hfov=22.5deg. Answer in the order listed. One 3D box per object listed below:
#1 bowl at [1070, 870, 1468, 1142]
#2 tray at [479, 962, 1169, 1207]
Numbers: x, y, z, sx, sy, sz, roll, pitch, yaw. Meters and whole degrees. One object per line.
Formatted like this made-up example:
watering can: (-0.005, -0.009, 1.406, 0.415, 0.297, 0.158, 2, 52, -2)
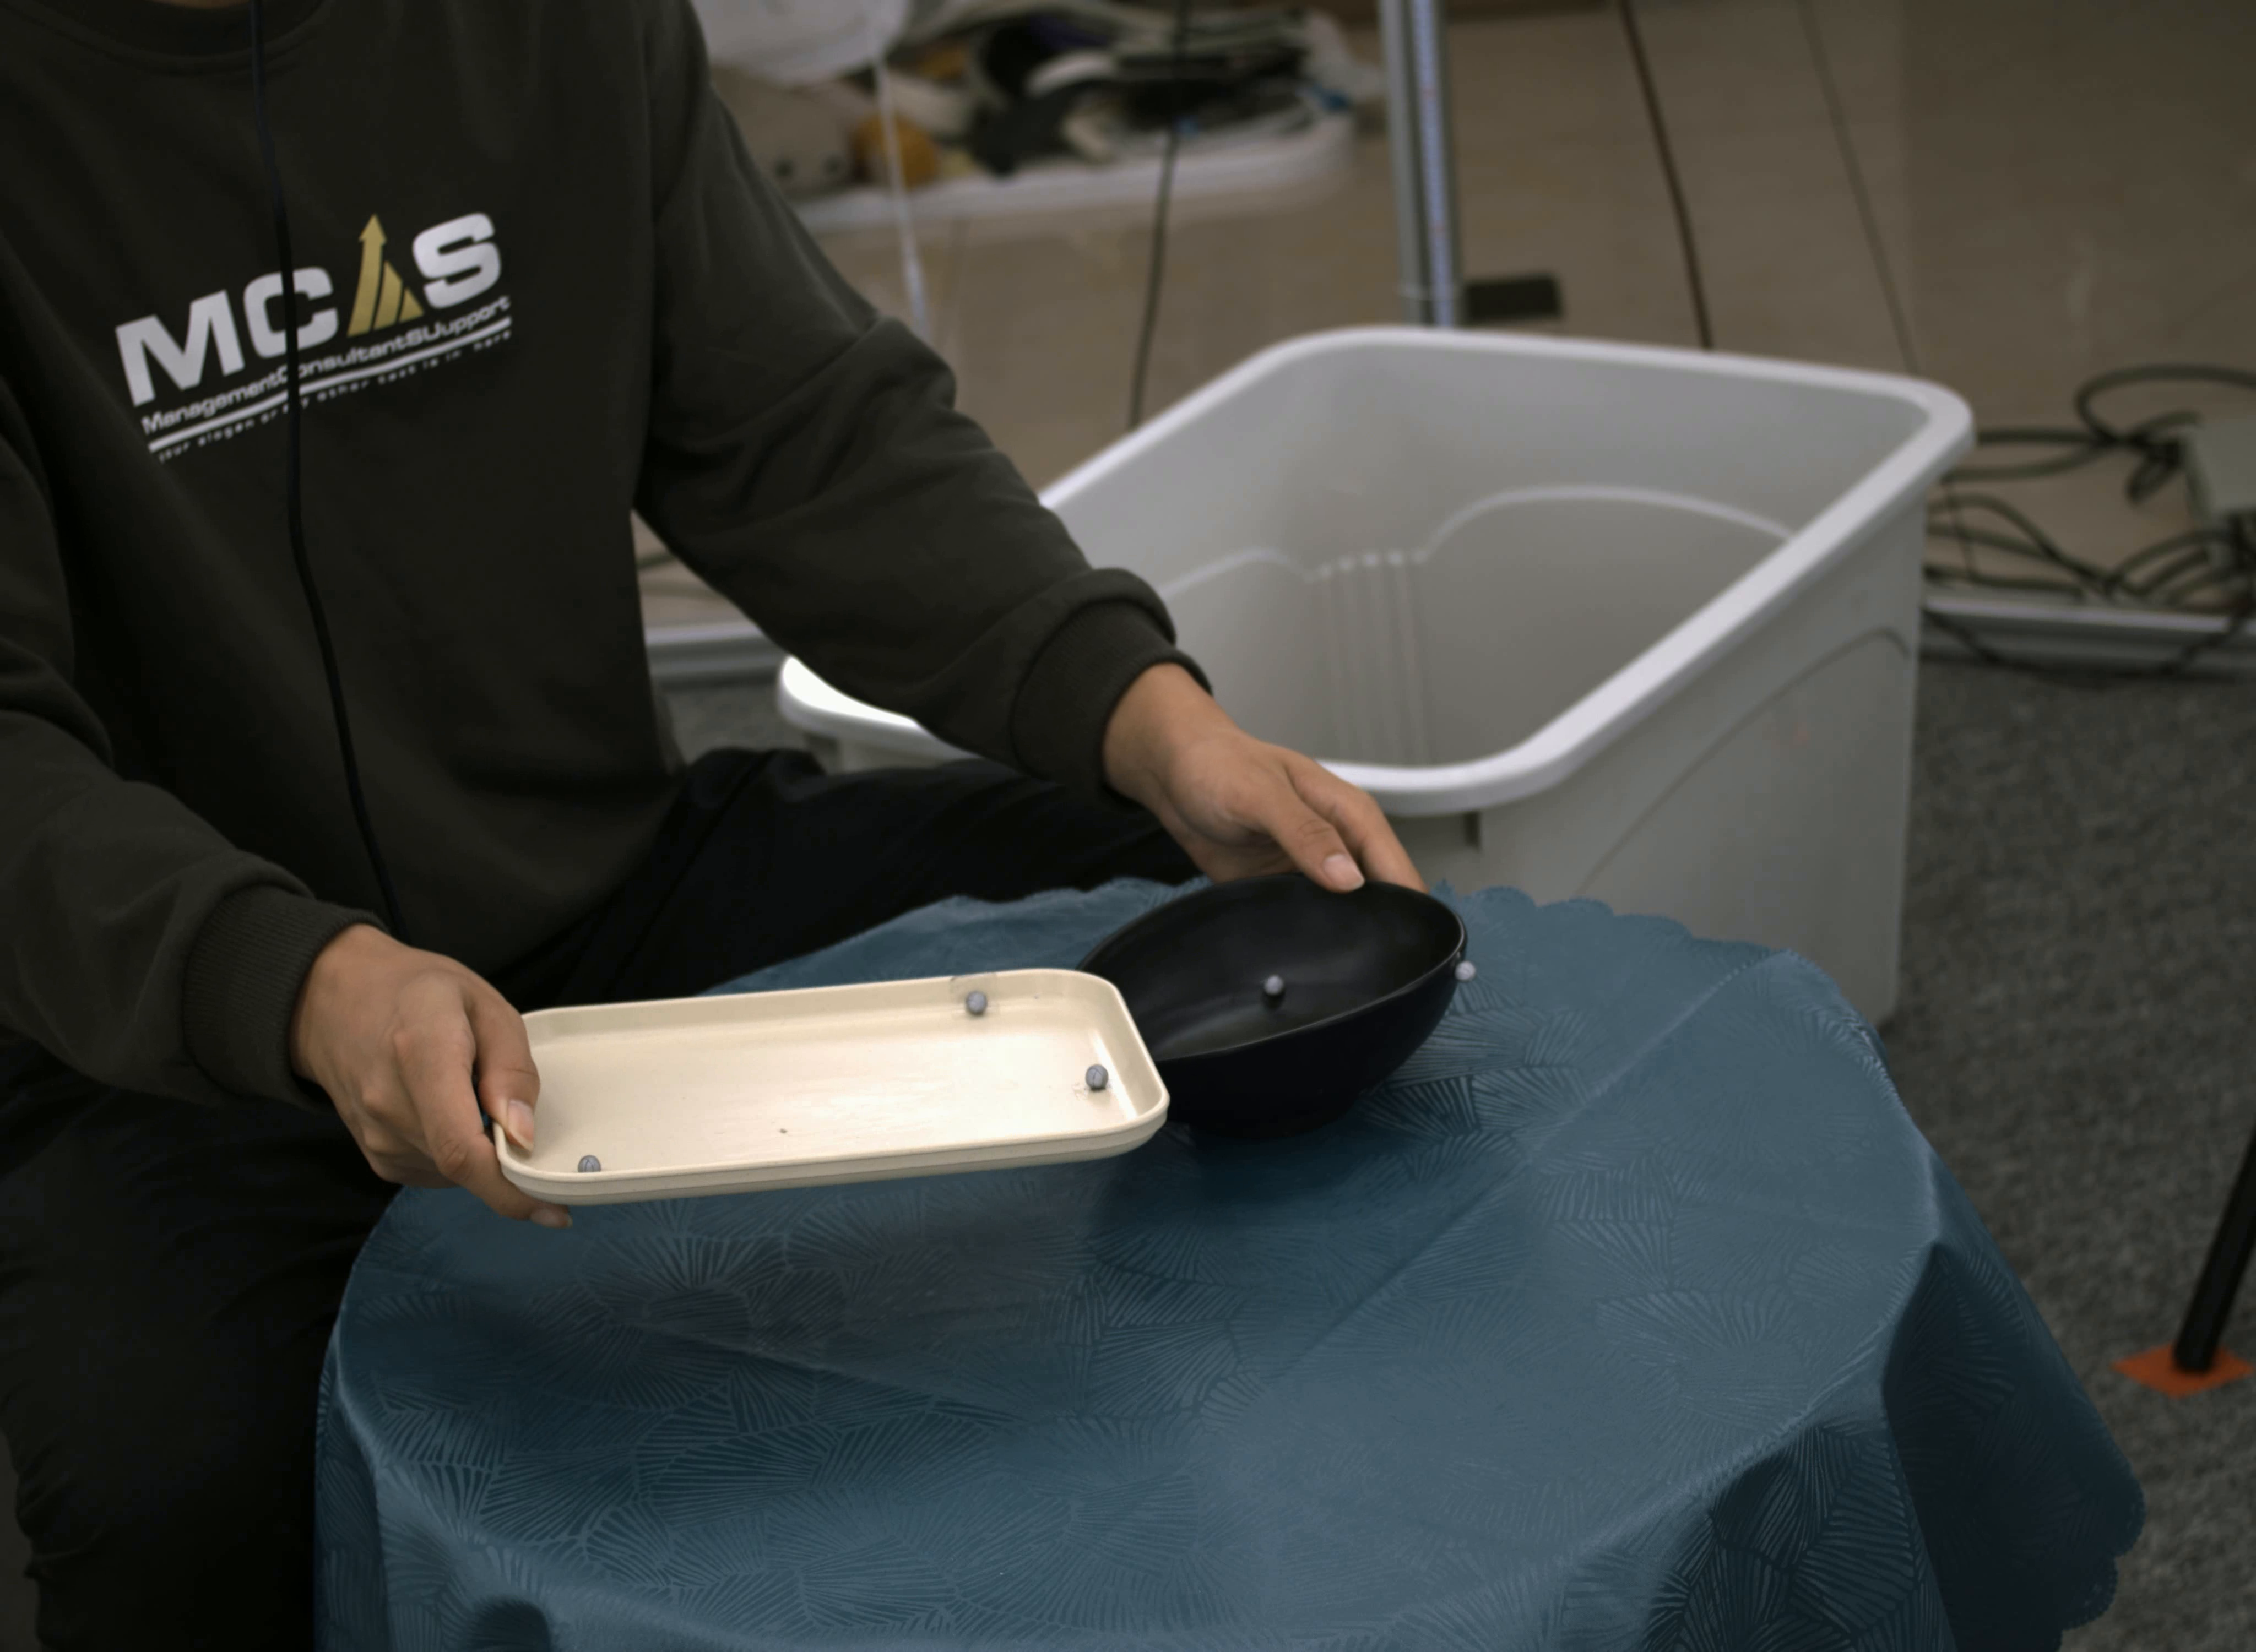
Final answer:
bowl: (0.055, 0.078, 2.191, 0.169, 0.068, 0.136, -21, 27, -25)
tray: (-0.112, 0.094, 2.053, 0.239, 0.018, 0.169, -5, 20, -8)
